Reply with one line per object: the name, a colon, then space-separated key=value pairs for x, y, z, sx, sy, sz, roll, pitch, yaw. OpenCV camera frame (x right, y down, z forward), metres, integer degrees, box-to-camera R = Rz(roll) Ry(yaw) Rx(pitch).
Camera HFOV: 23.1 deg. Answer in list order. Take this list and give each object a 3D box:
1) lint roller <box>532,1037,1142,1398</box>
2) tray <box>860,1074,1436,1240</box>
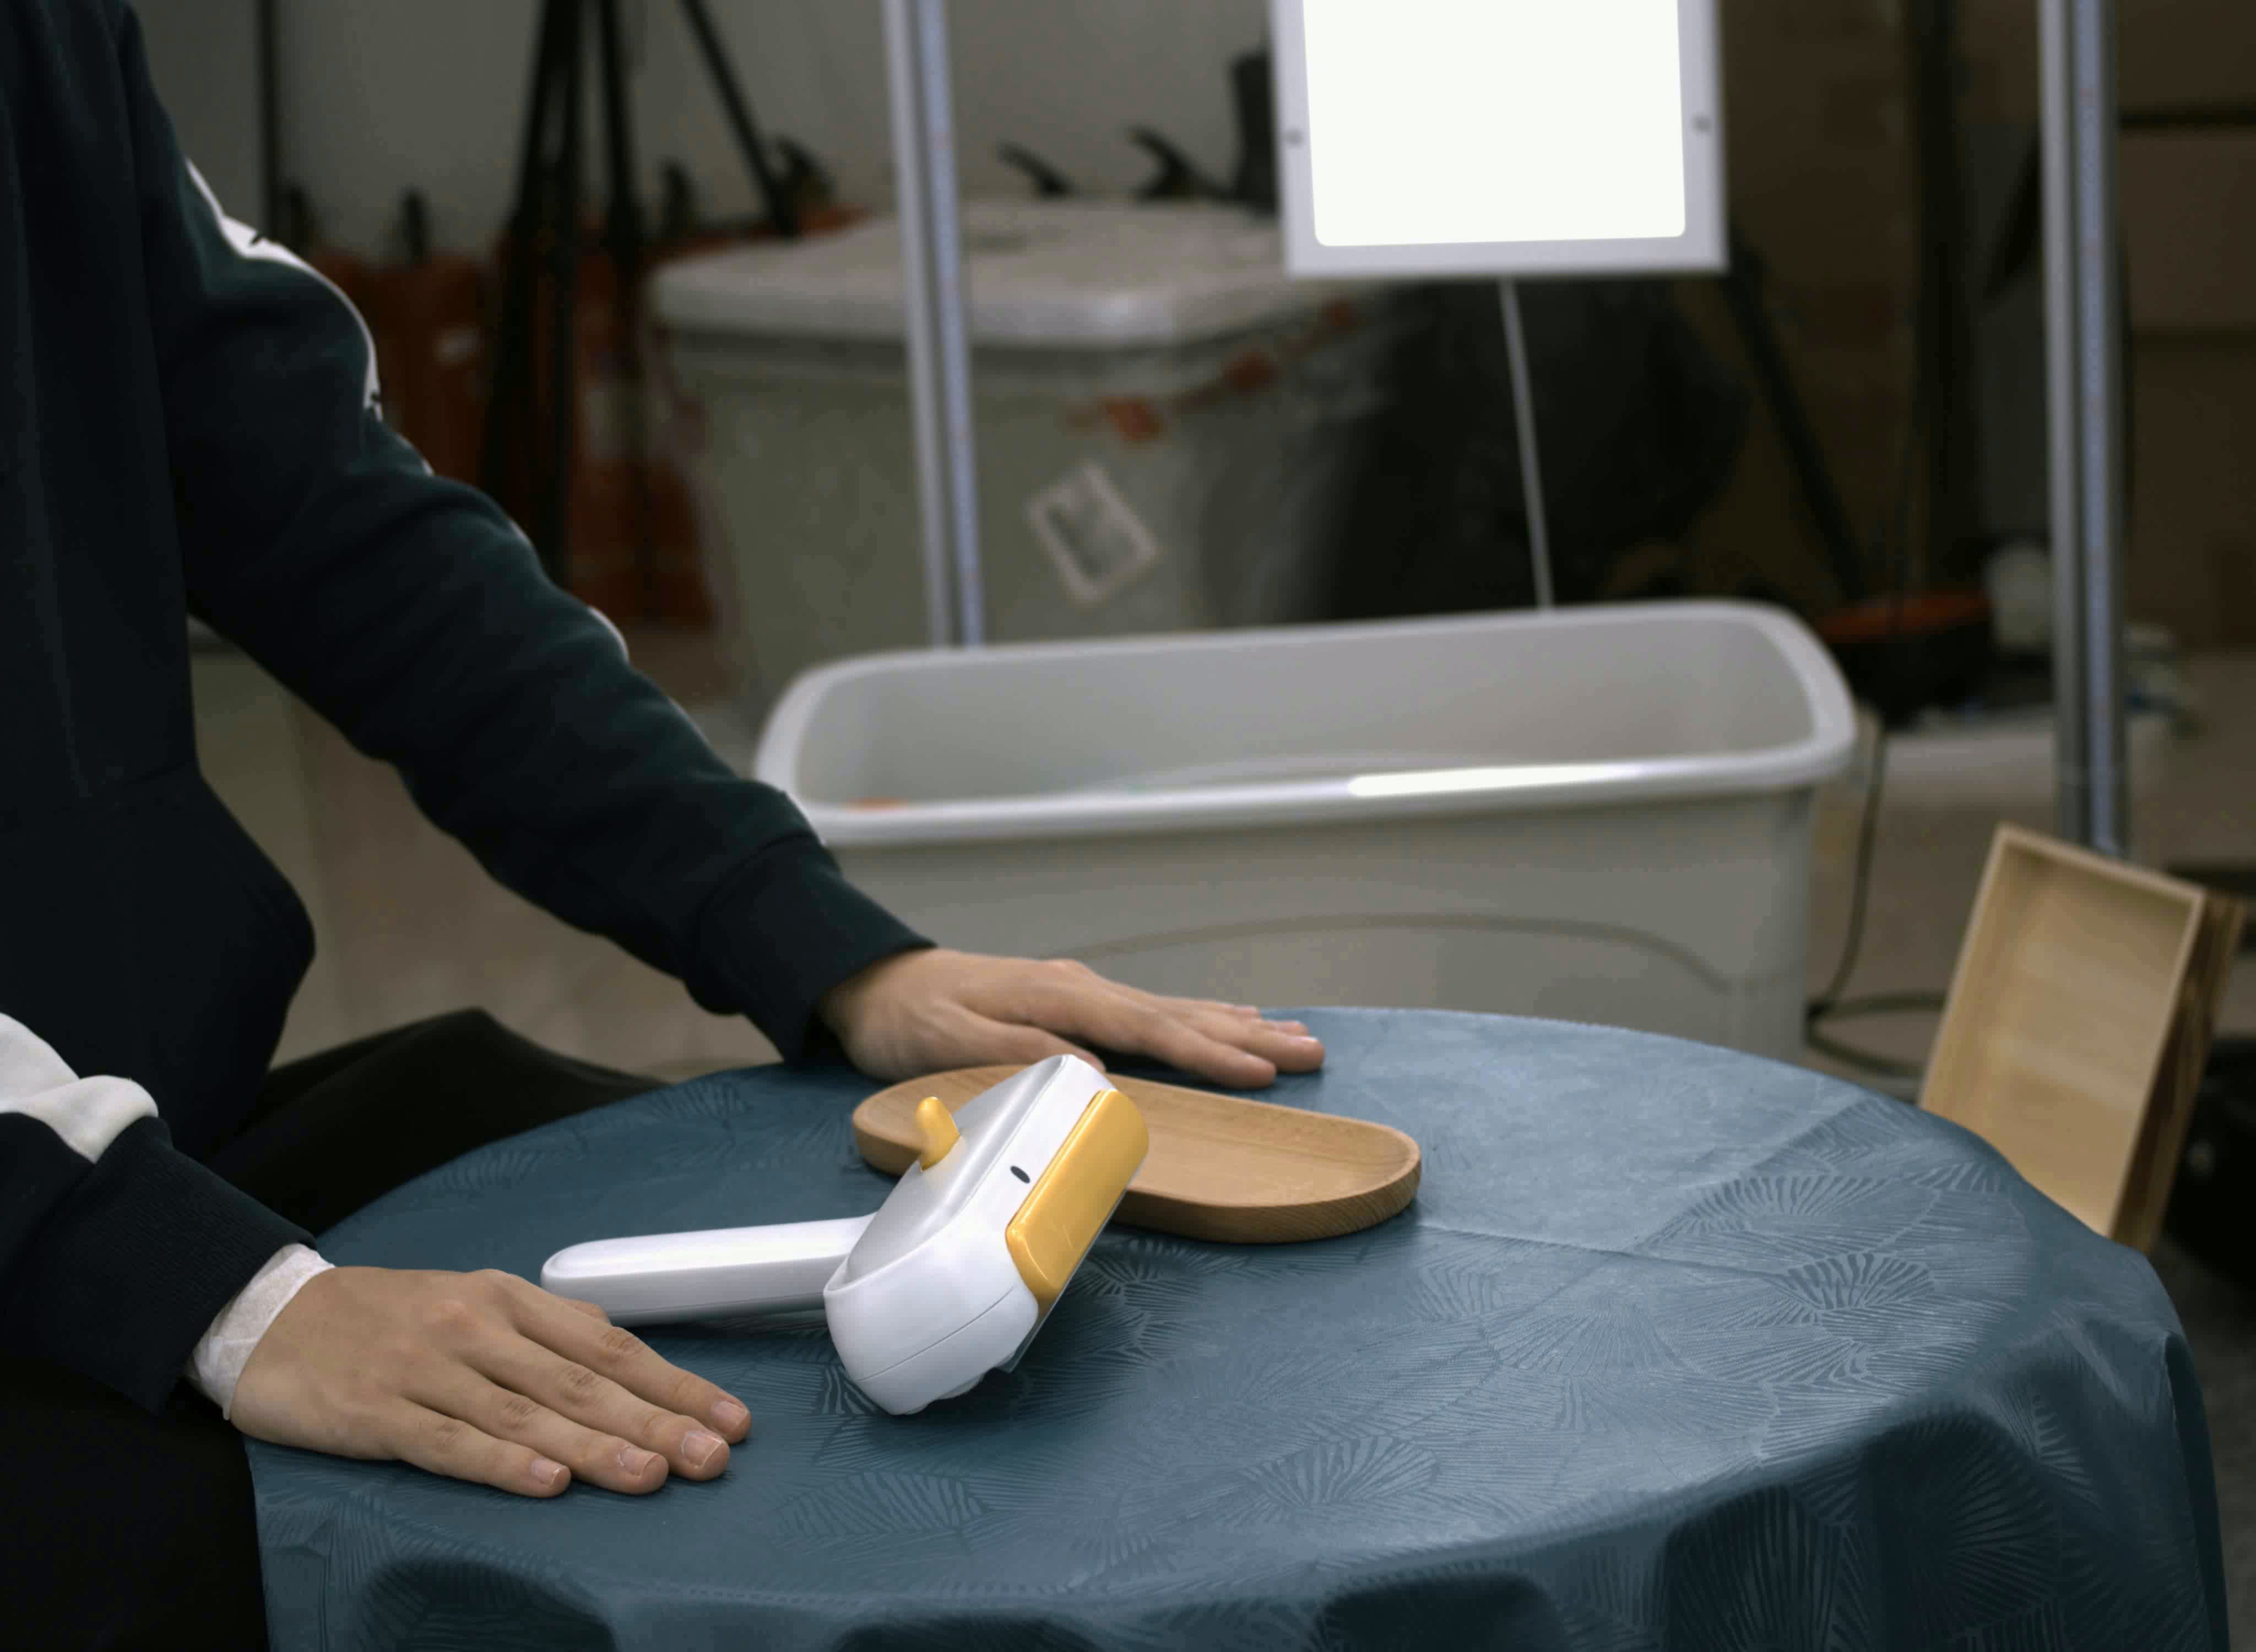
lint roller: x=-0.098 y=0.139 z=1.780 sx=0.194 sy=0.074 sz=0.191 roll=-21 pitch=16 yaw=17
tray: x=0.005 y=0.114 z=1.911 sx=0.236 sy=0.020 sz=0.099 roll=8 pitch=20 yaw=41
